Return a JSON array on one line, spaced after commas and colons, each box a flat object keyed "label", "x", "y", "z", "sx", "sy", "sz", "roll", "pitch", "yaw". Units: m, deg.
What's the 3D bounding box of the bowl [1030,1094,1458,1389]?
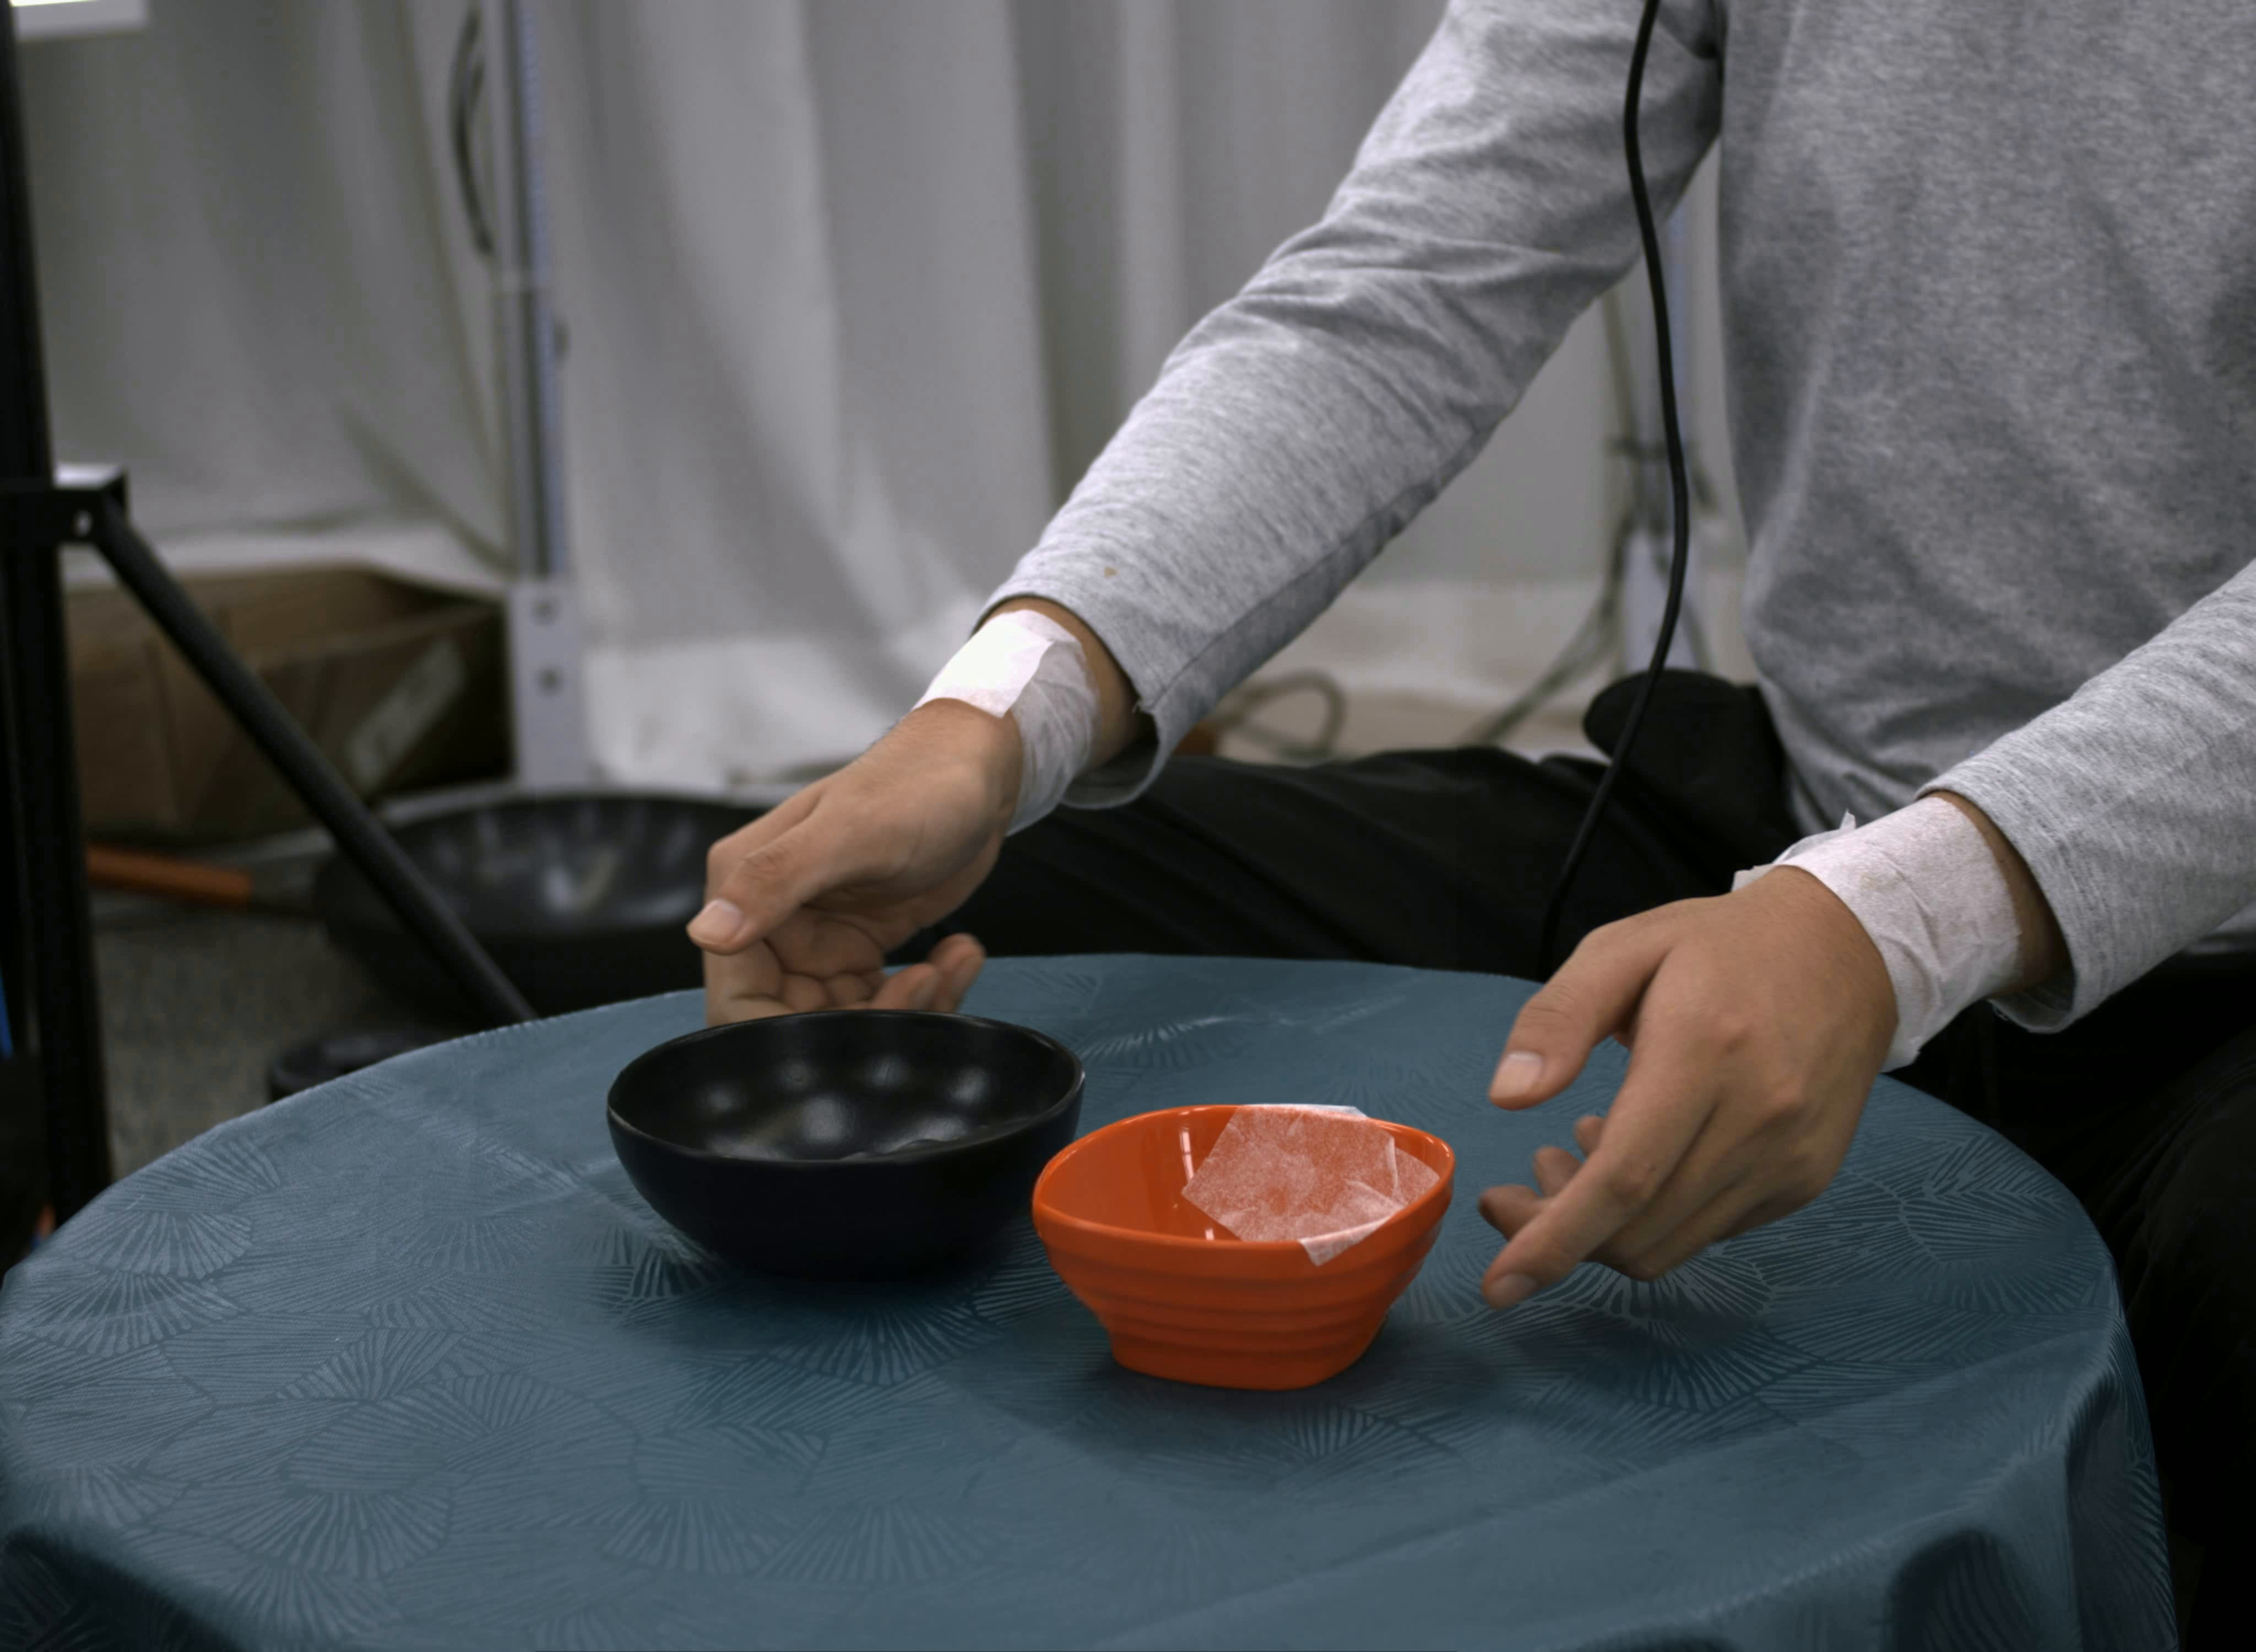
[{"label": "bowl", "x": 0.033, "y": 0.115, "z": 1.433, "sx": 0.118, "sy": 0.051, "sz": 0.119, "roll": -5, "pitch": 17, "yaw": 0}]

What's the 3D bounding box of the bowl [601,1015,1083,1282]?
[{"label": "bowl", "x": -0.081, "y": 0.097, "z": 1.529, "sx": 0.139, "sy": 0.050, "sz": 0.140, "roll": 0, "pitch": 14, "yaw": -1}]
